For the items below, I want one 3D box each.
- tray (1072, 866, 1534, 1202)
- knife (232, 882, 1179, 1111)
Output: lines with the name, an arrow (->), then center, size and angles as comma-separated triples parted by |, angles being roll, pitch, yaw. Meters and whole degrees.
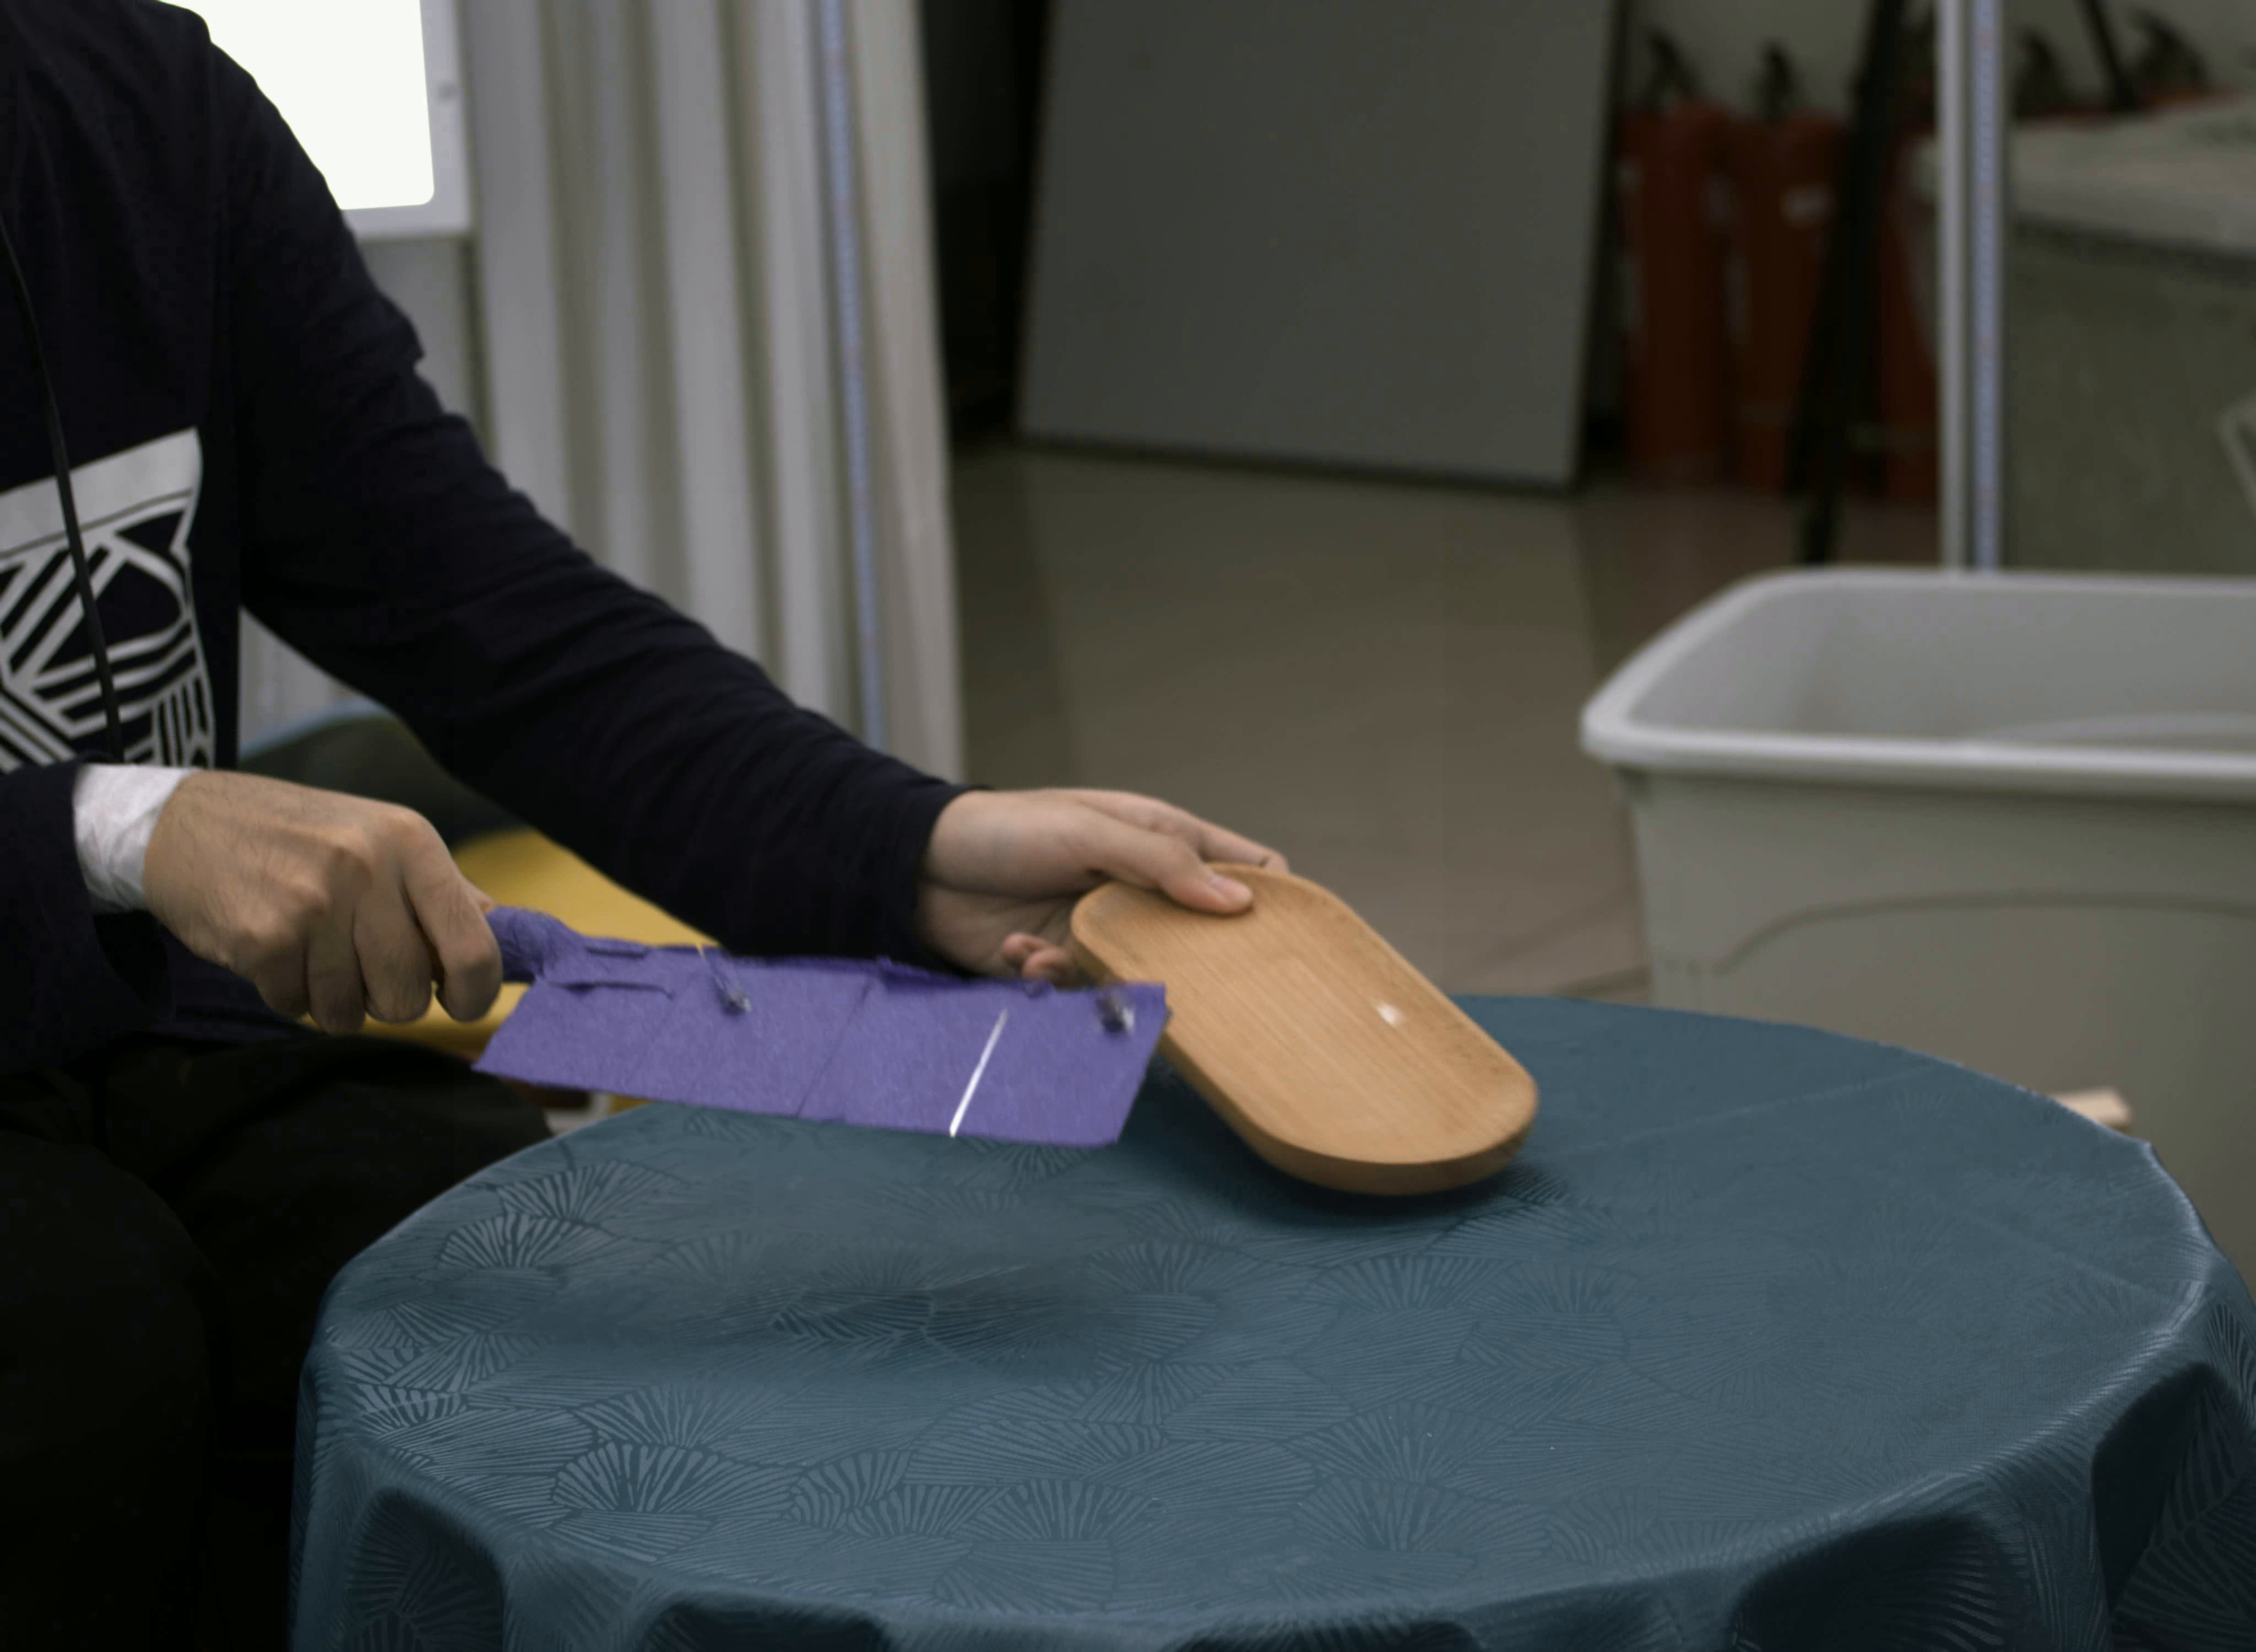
tray -> 0.056, 0.068, 1.815 | 0.099, 0.020, 0.234 | -12, 29, -20
knife -> -0.143, 0.054, 1.698 | 0.314, 0.032, 0.103 | 3, 27, 15
